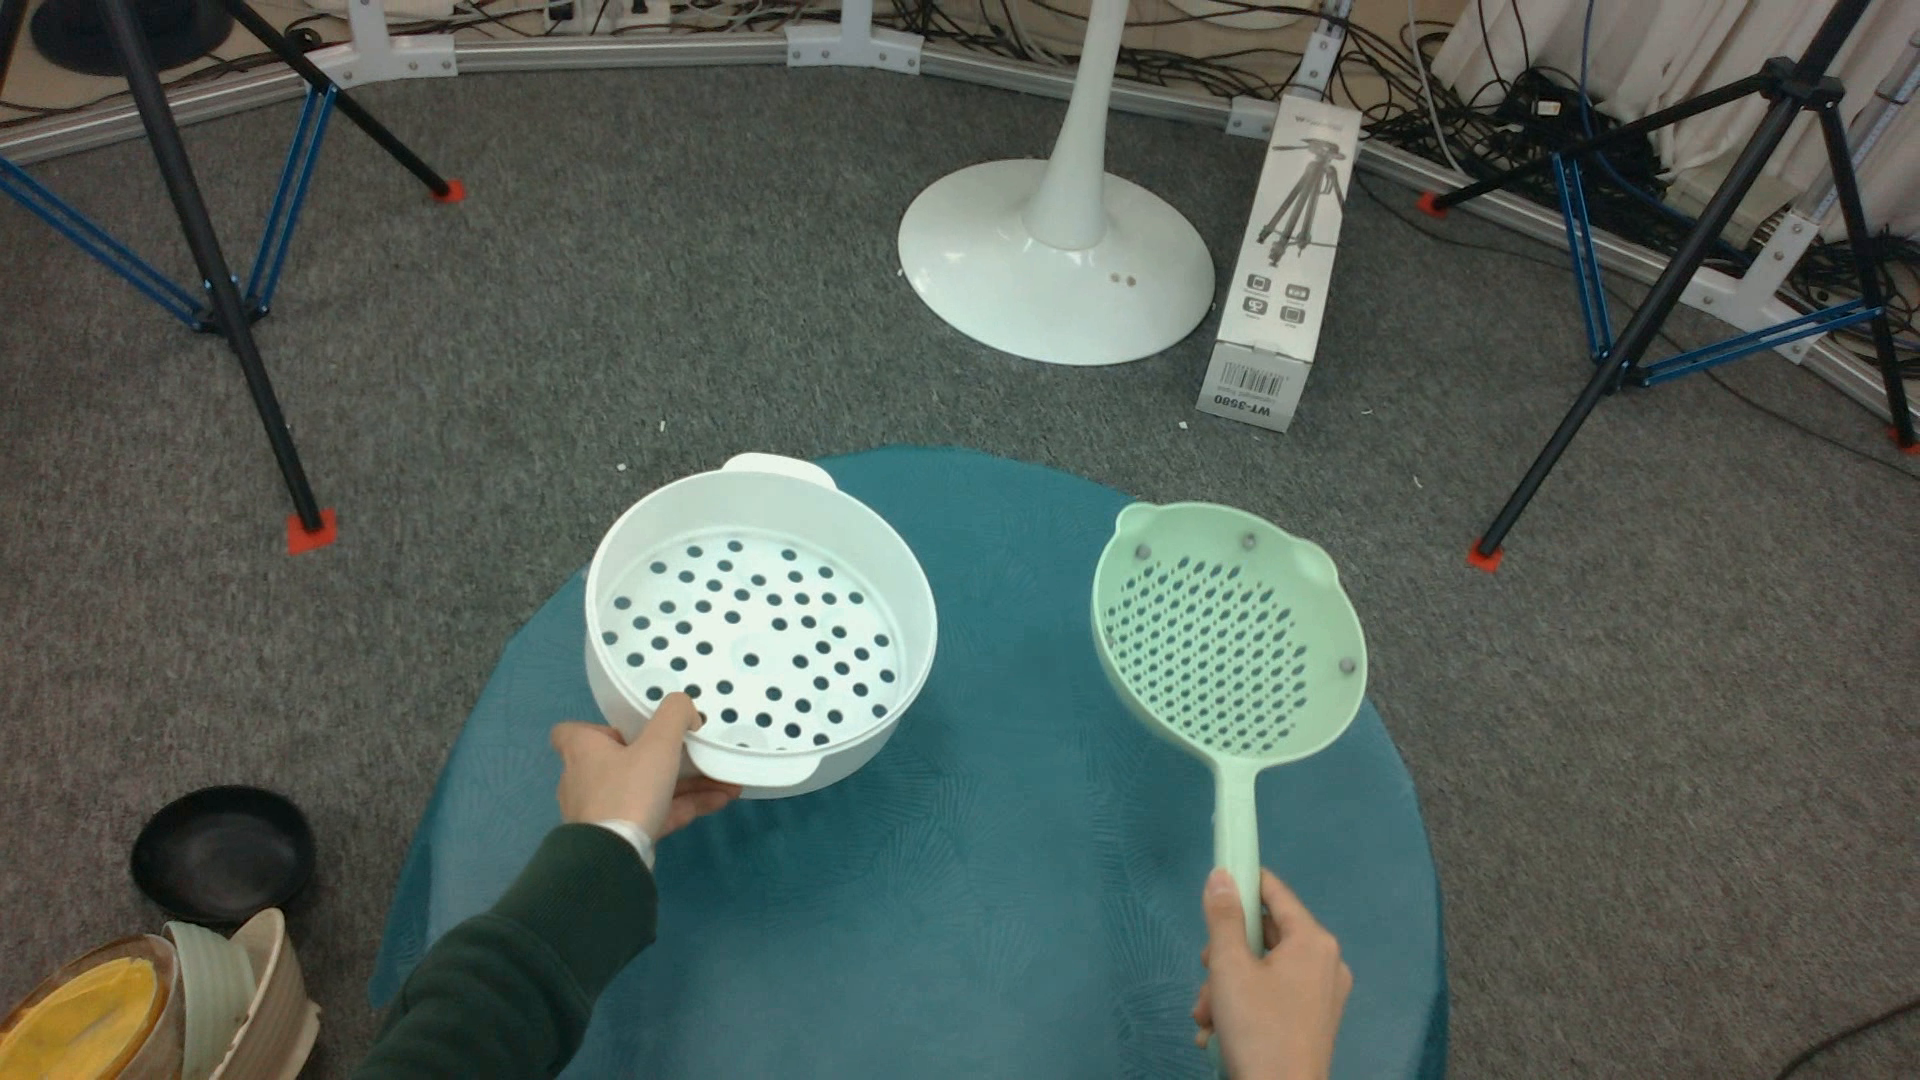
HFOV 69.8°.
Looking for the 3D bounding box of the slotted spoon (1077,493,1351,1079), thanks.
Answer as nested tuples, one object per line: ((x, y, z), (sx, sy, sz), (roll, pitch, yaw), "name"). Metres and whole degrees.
((0.137, 0.127, 0.742), (0.169, 0.075, 0.360), (13, 45, -10), "slotted spoon")

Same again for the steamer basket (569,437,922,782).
((-0.127, 0.045, 0.808), (0.202, 0.069, 0.231), (8, 50, -14), "steamer basket")
